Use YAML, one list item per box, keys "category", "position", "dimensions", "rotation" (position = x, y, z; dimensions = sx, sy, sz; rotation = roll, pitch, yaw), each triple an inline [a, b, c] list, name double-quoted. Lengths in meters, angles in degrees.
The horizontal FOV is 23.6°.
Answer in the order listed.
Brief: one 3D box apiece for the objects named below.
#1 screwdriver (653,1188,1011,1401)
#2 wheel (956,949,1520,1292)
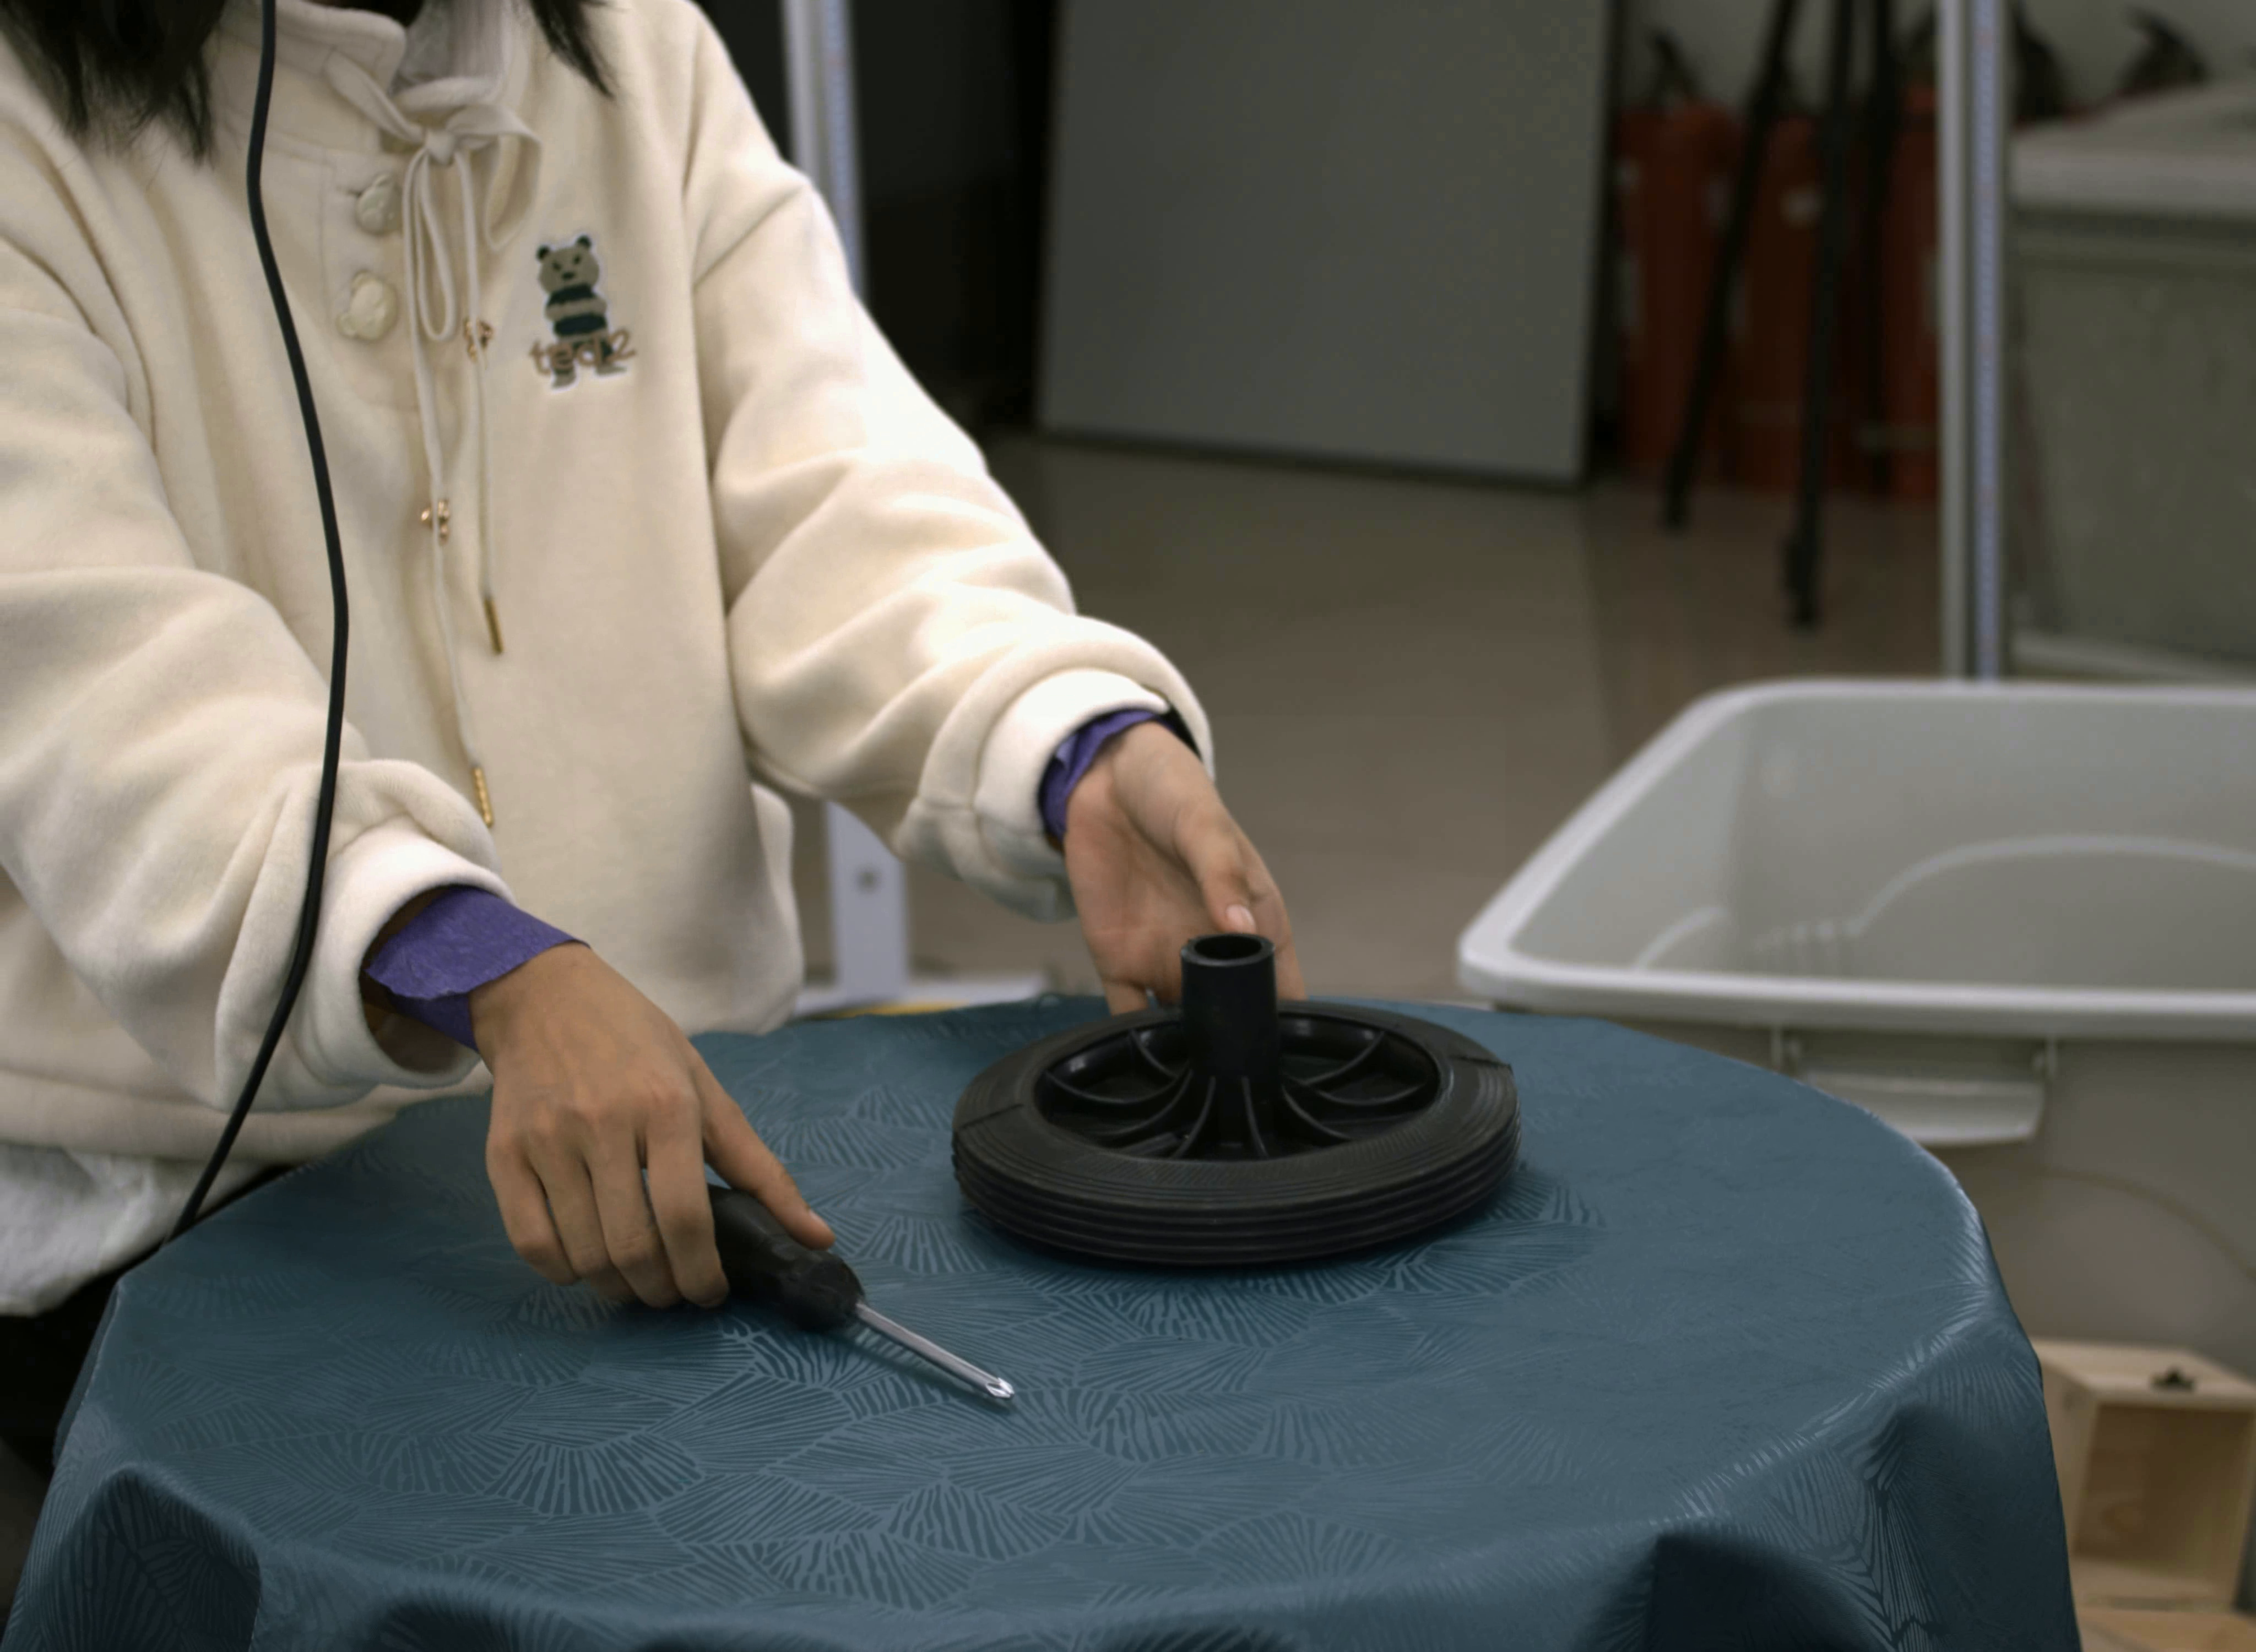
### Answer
- category: "screwdriver"
  position: [-0.087, 0.144, 1.653]
  dimensions: [0.031, 0.032, 0.198]
  rotation: [-13, 18, -35]
- category: "wheel"
  position: [0.034, 0.083, 1.754]
  dimensions: [0.188, 0.080, 0.187]
  rotation: [5, 23, 26]
